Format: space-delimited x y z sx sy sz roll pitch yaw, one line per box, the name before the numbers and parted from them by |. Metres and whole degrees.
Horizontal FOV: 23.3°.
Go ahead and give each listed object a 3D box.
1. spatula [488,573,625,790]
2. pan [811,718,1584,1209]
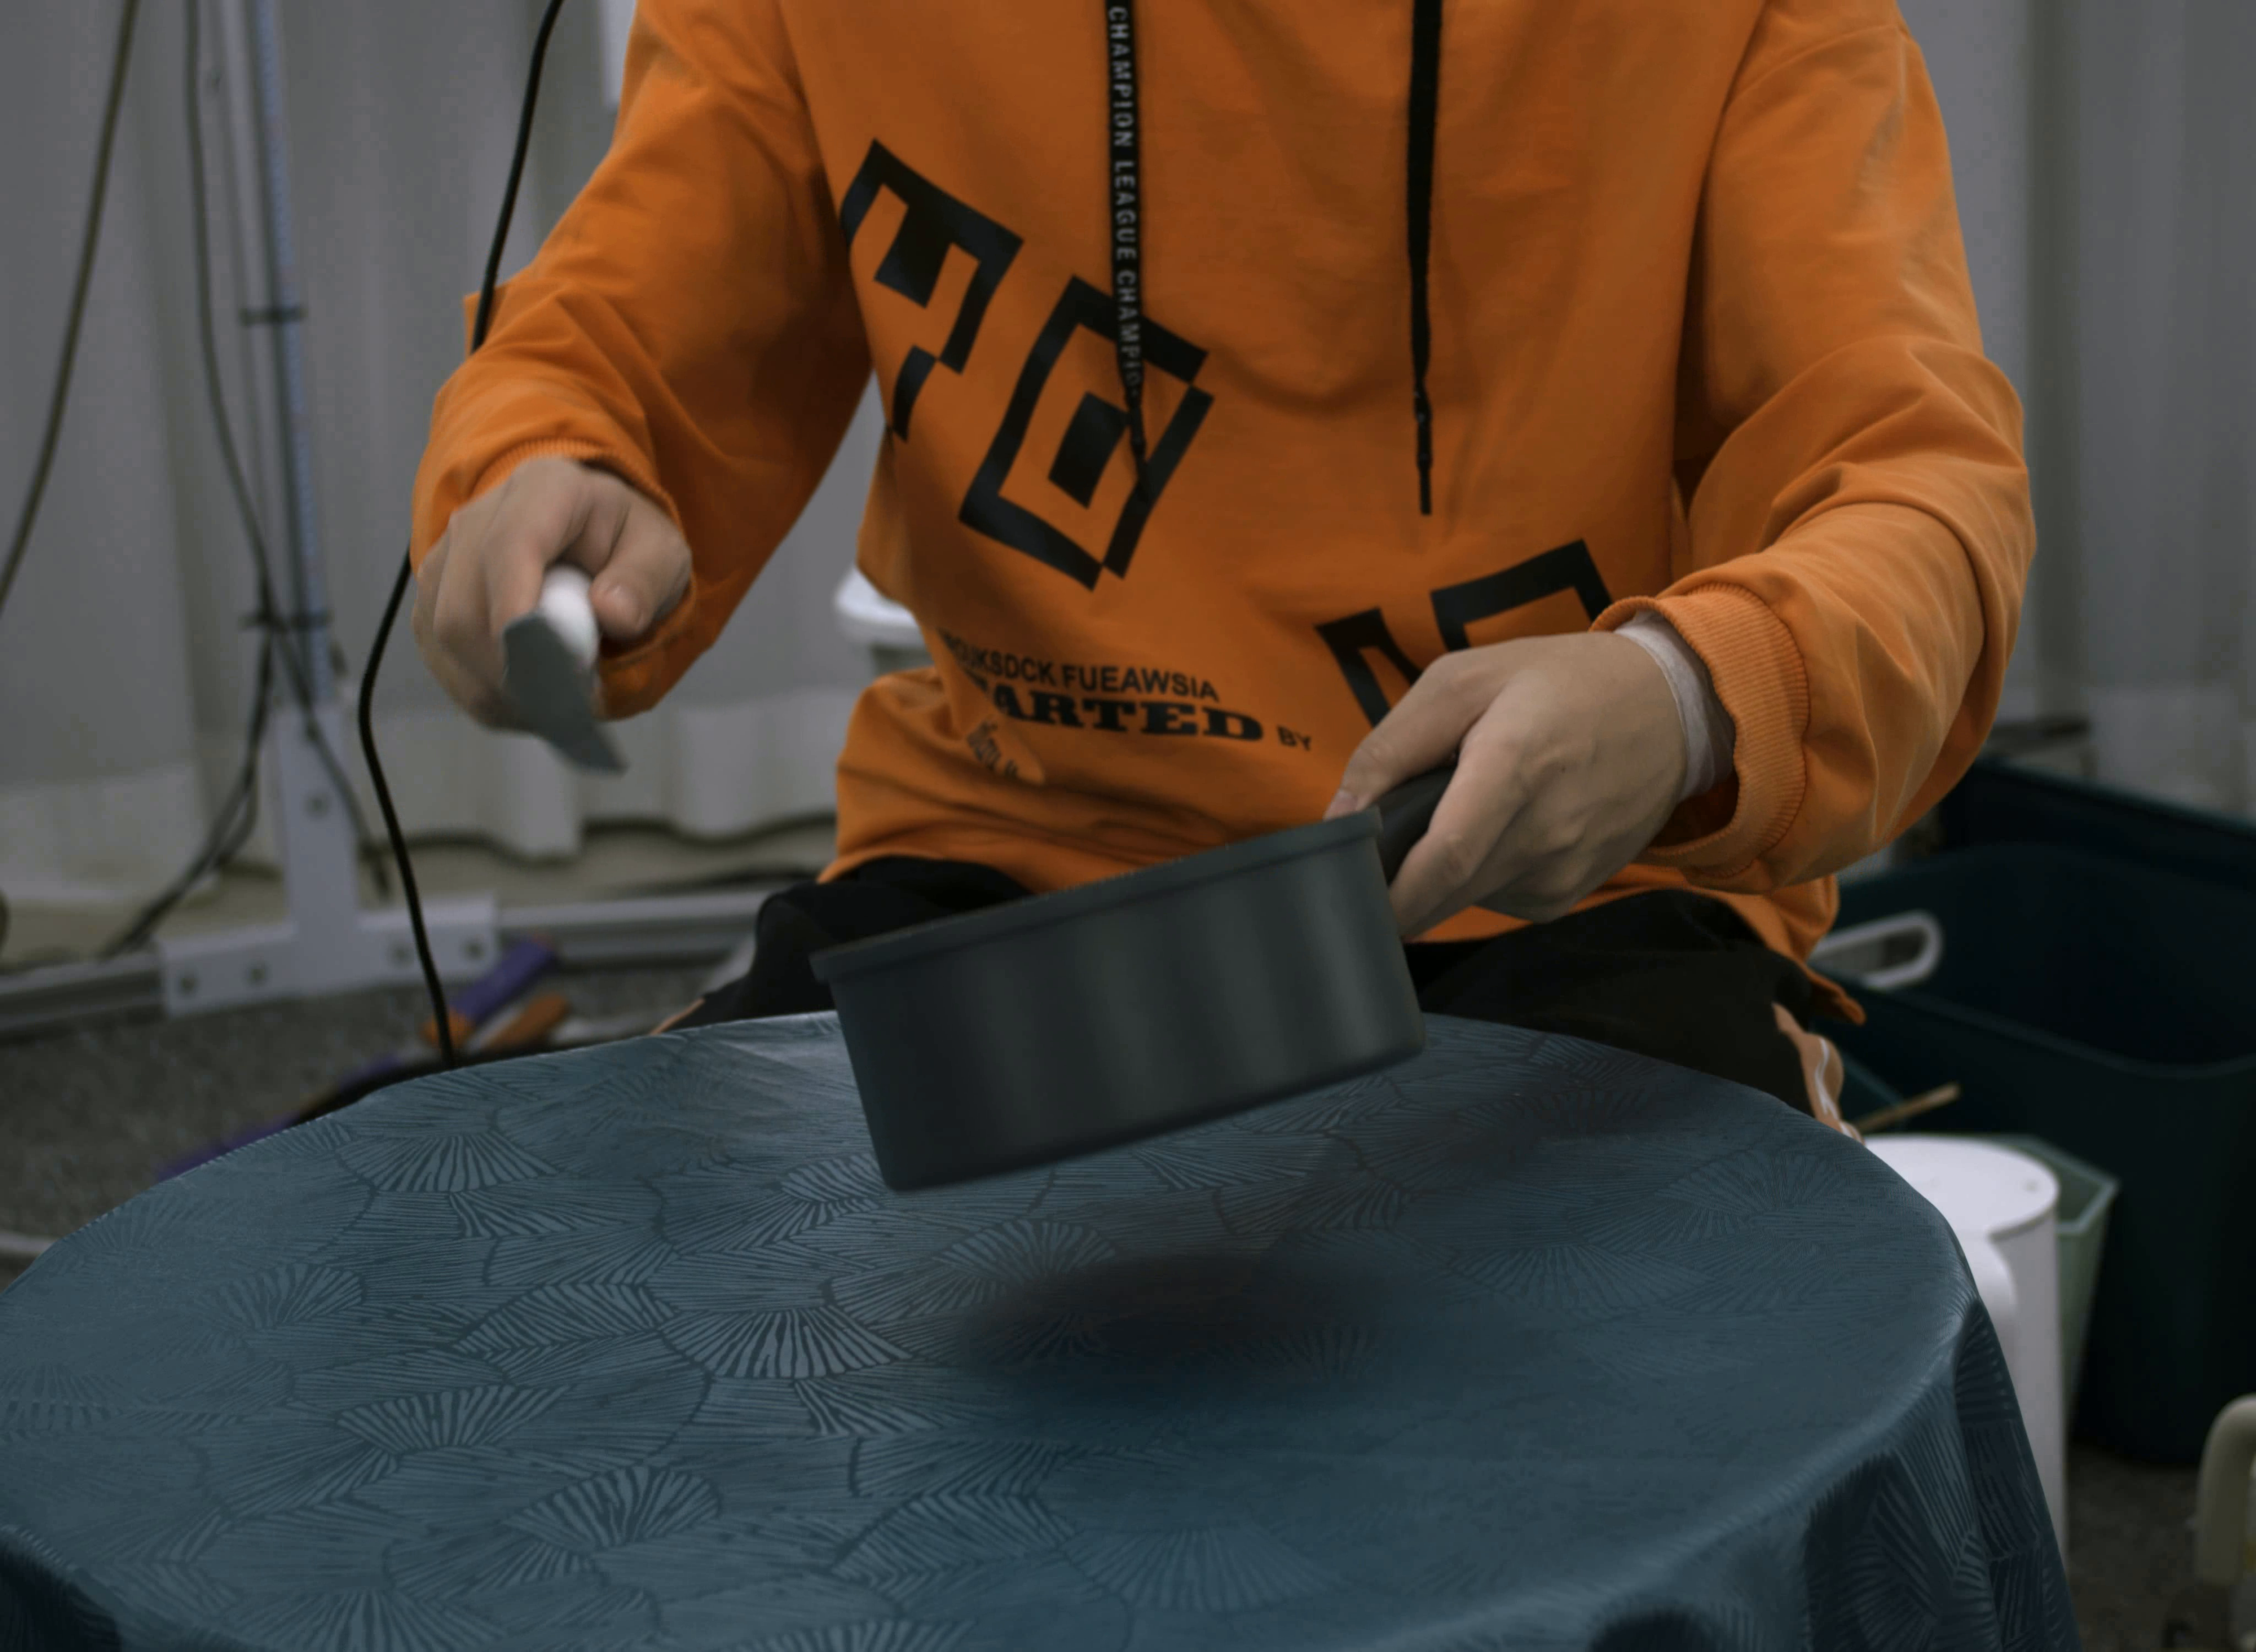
spatula | -0.176 -0.048 1.664 0.032 0.058 0.289 -27 9 -2
pan | 0.046 0.038 1.644 0.172 0.086 0.328 -15 2 38
